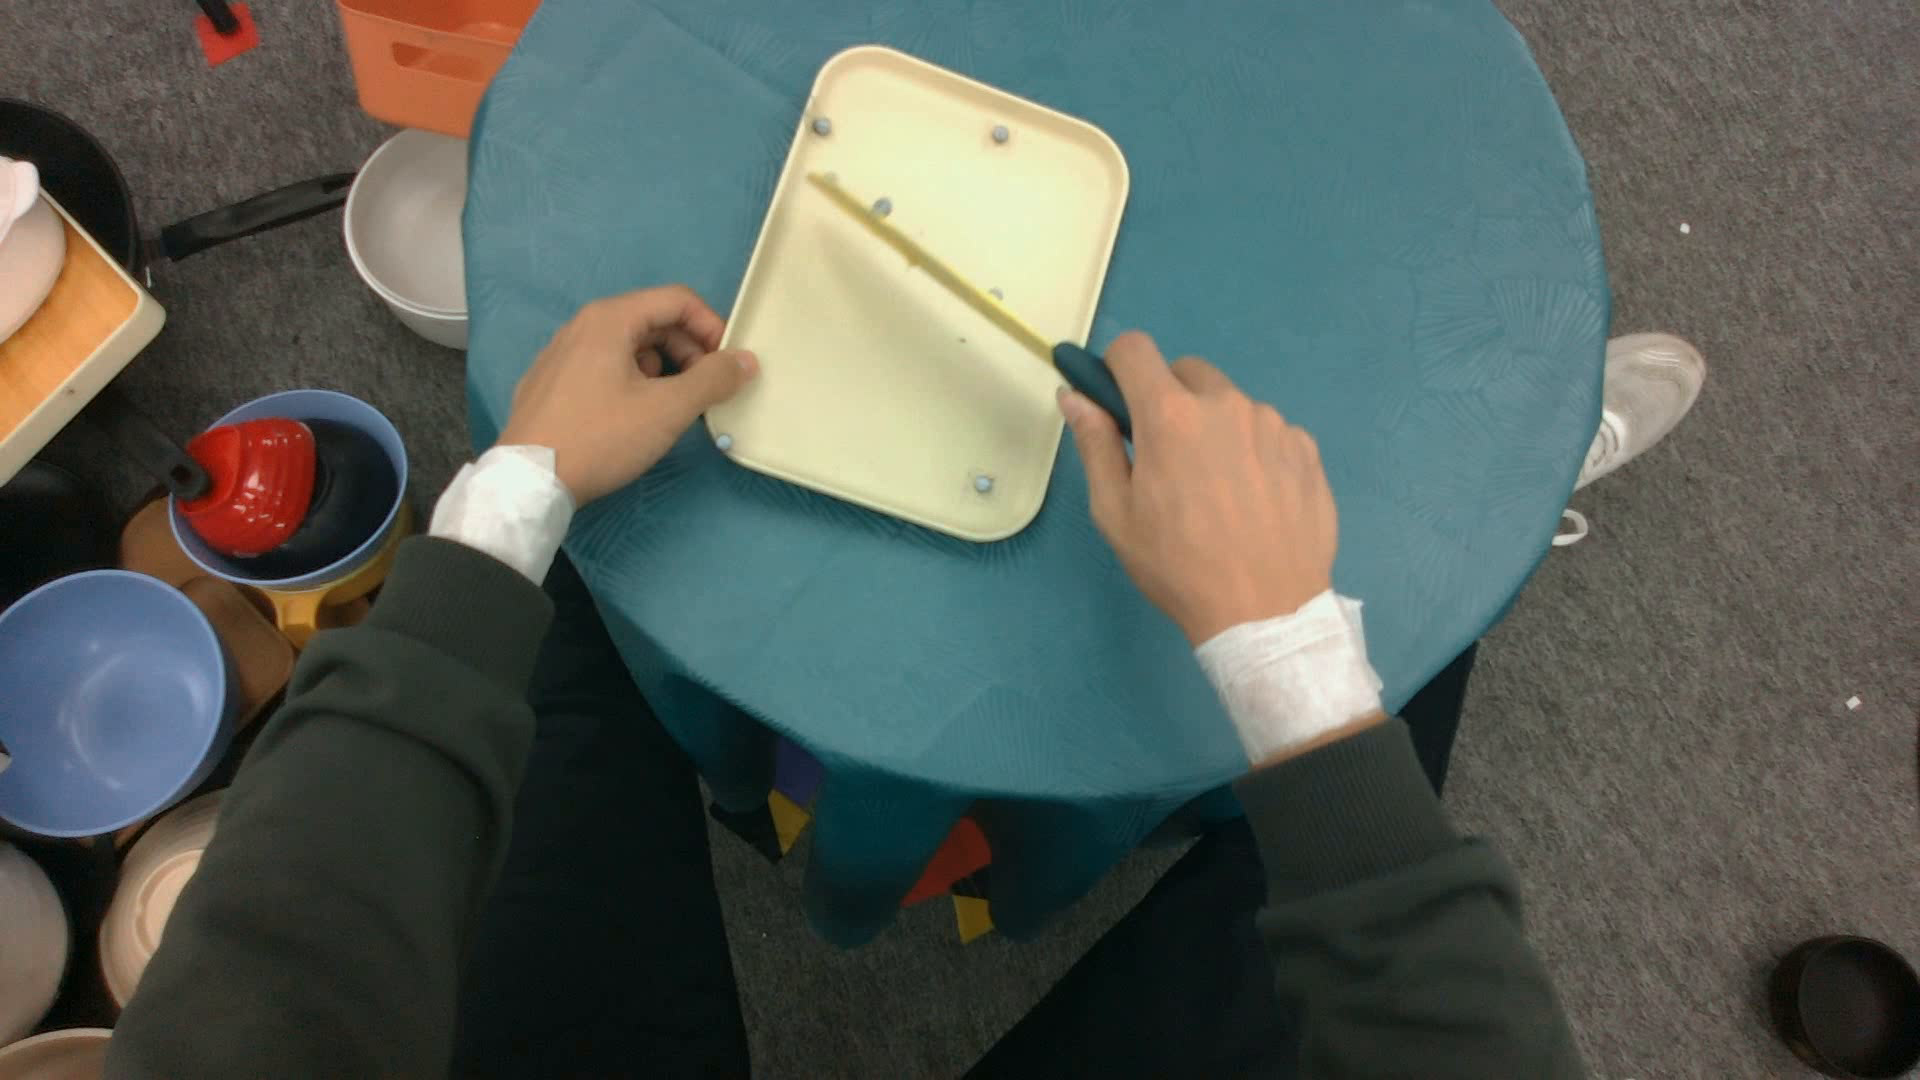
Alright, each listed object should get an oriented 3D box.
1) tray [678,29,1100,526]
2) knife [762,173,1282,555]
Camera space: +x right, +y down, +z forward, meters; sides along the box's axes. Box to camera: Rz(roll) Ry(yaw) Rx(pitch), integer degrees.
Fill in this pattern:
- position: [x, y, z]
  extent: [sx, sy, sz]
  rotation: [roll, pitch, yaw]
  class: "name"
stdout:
- position: [-0.030, -0.132, 0.684]
  extent: [0.171, 0.017, 0.240]
  rotation: [18, 71, -9]
  class: "tray"
- position: [0.021, -0.084, 0.618]
  extent: [0.289, 0.081, 0.027]
  rotation: [37, 95, 10]
  class: "knife"
